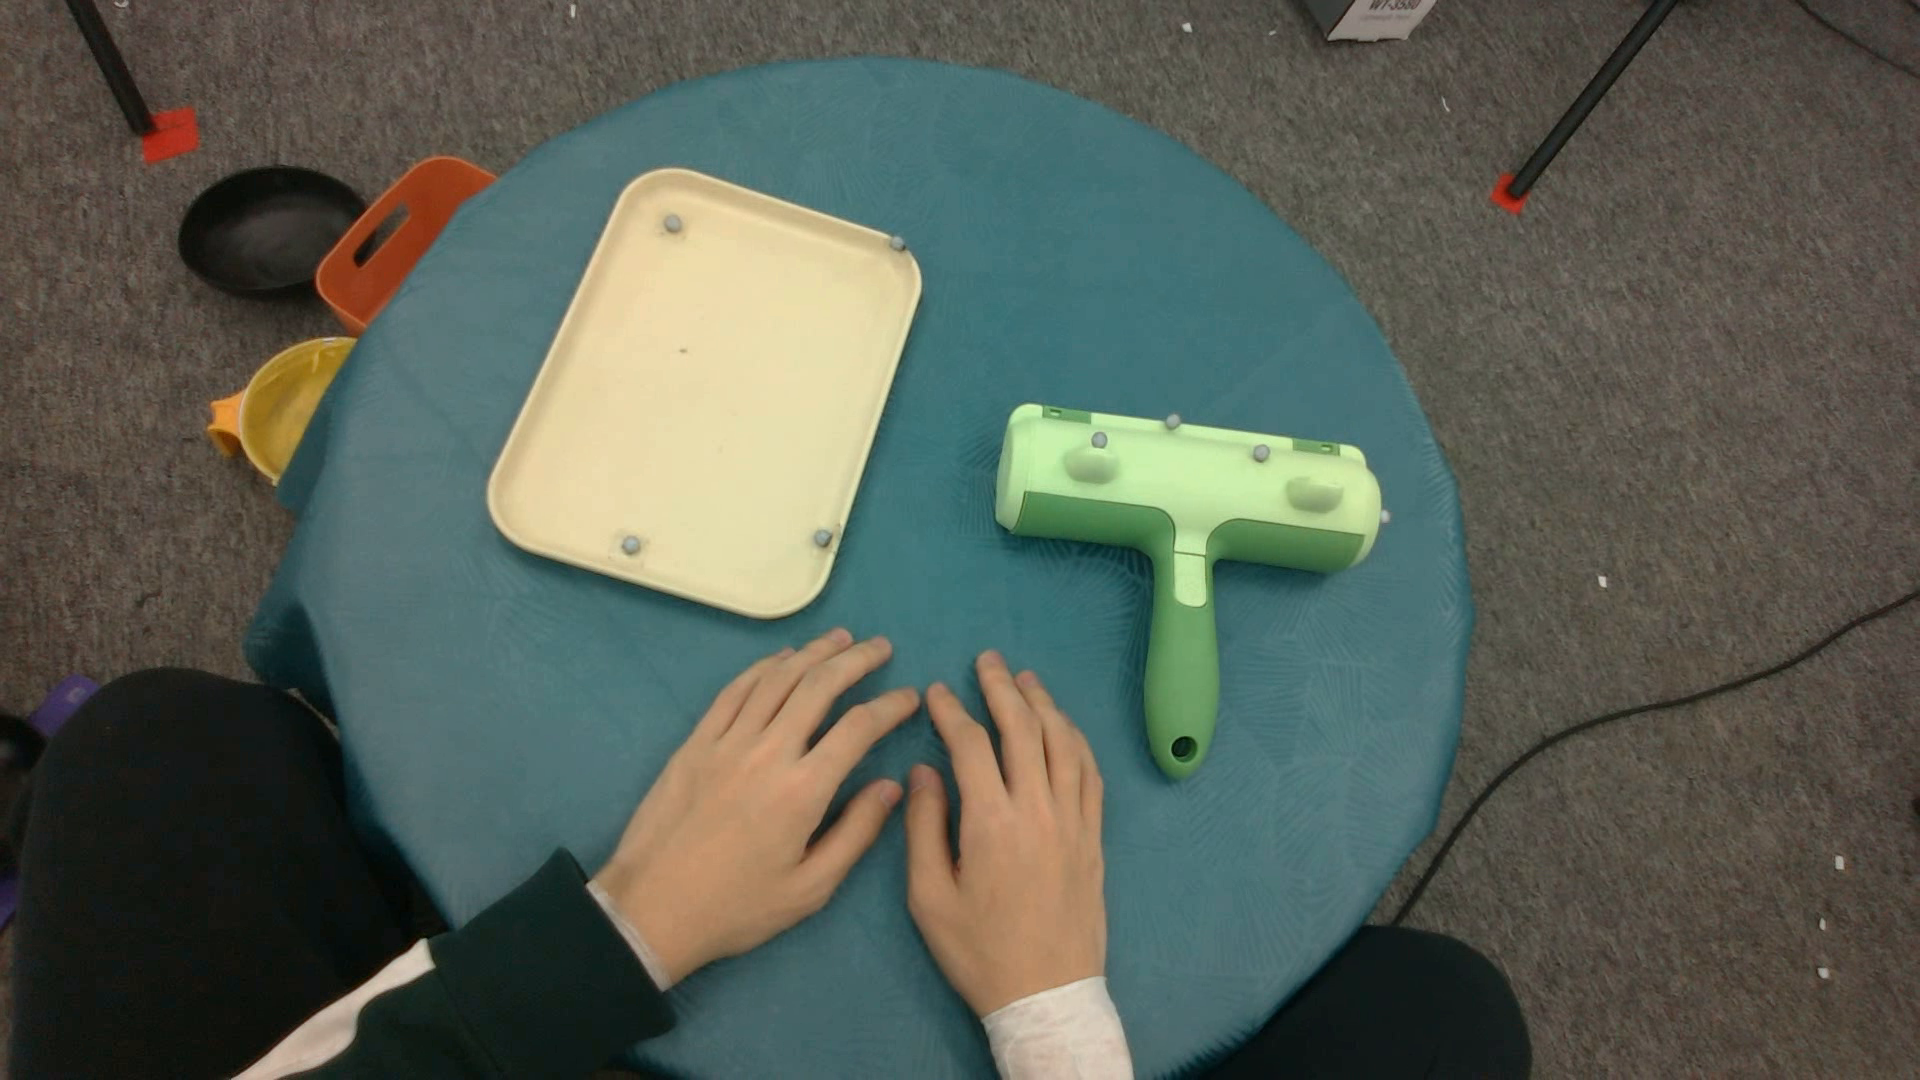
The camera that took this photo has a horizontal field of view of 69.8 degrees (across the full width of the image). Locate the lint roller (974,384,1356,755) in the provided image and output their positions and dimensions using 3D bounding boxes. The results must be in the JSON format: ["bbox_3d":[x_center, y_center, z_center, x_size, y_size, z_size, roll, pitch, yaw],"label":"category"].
[{"bbox_3d":[0.107,0.009,0.687,0.199,0.082,0.184,6,61,-8],"label":"lint roller"}]

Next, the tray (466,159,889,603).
[{"bbox_3d":[-0.139,-0.087,0.715,0.171,0.017,0.240,15,64,-3],"label":"tray"}]
